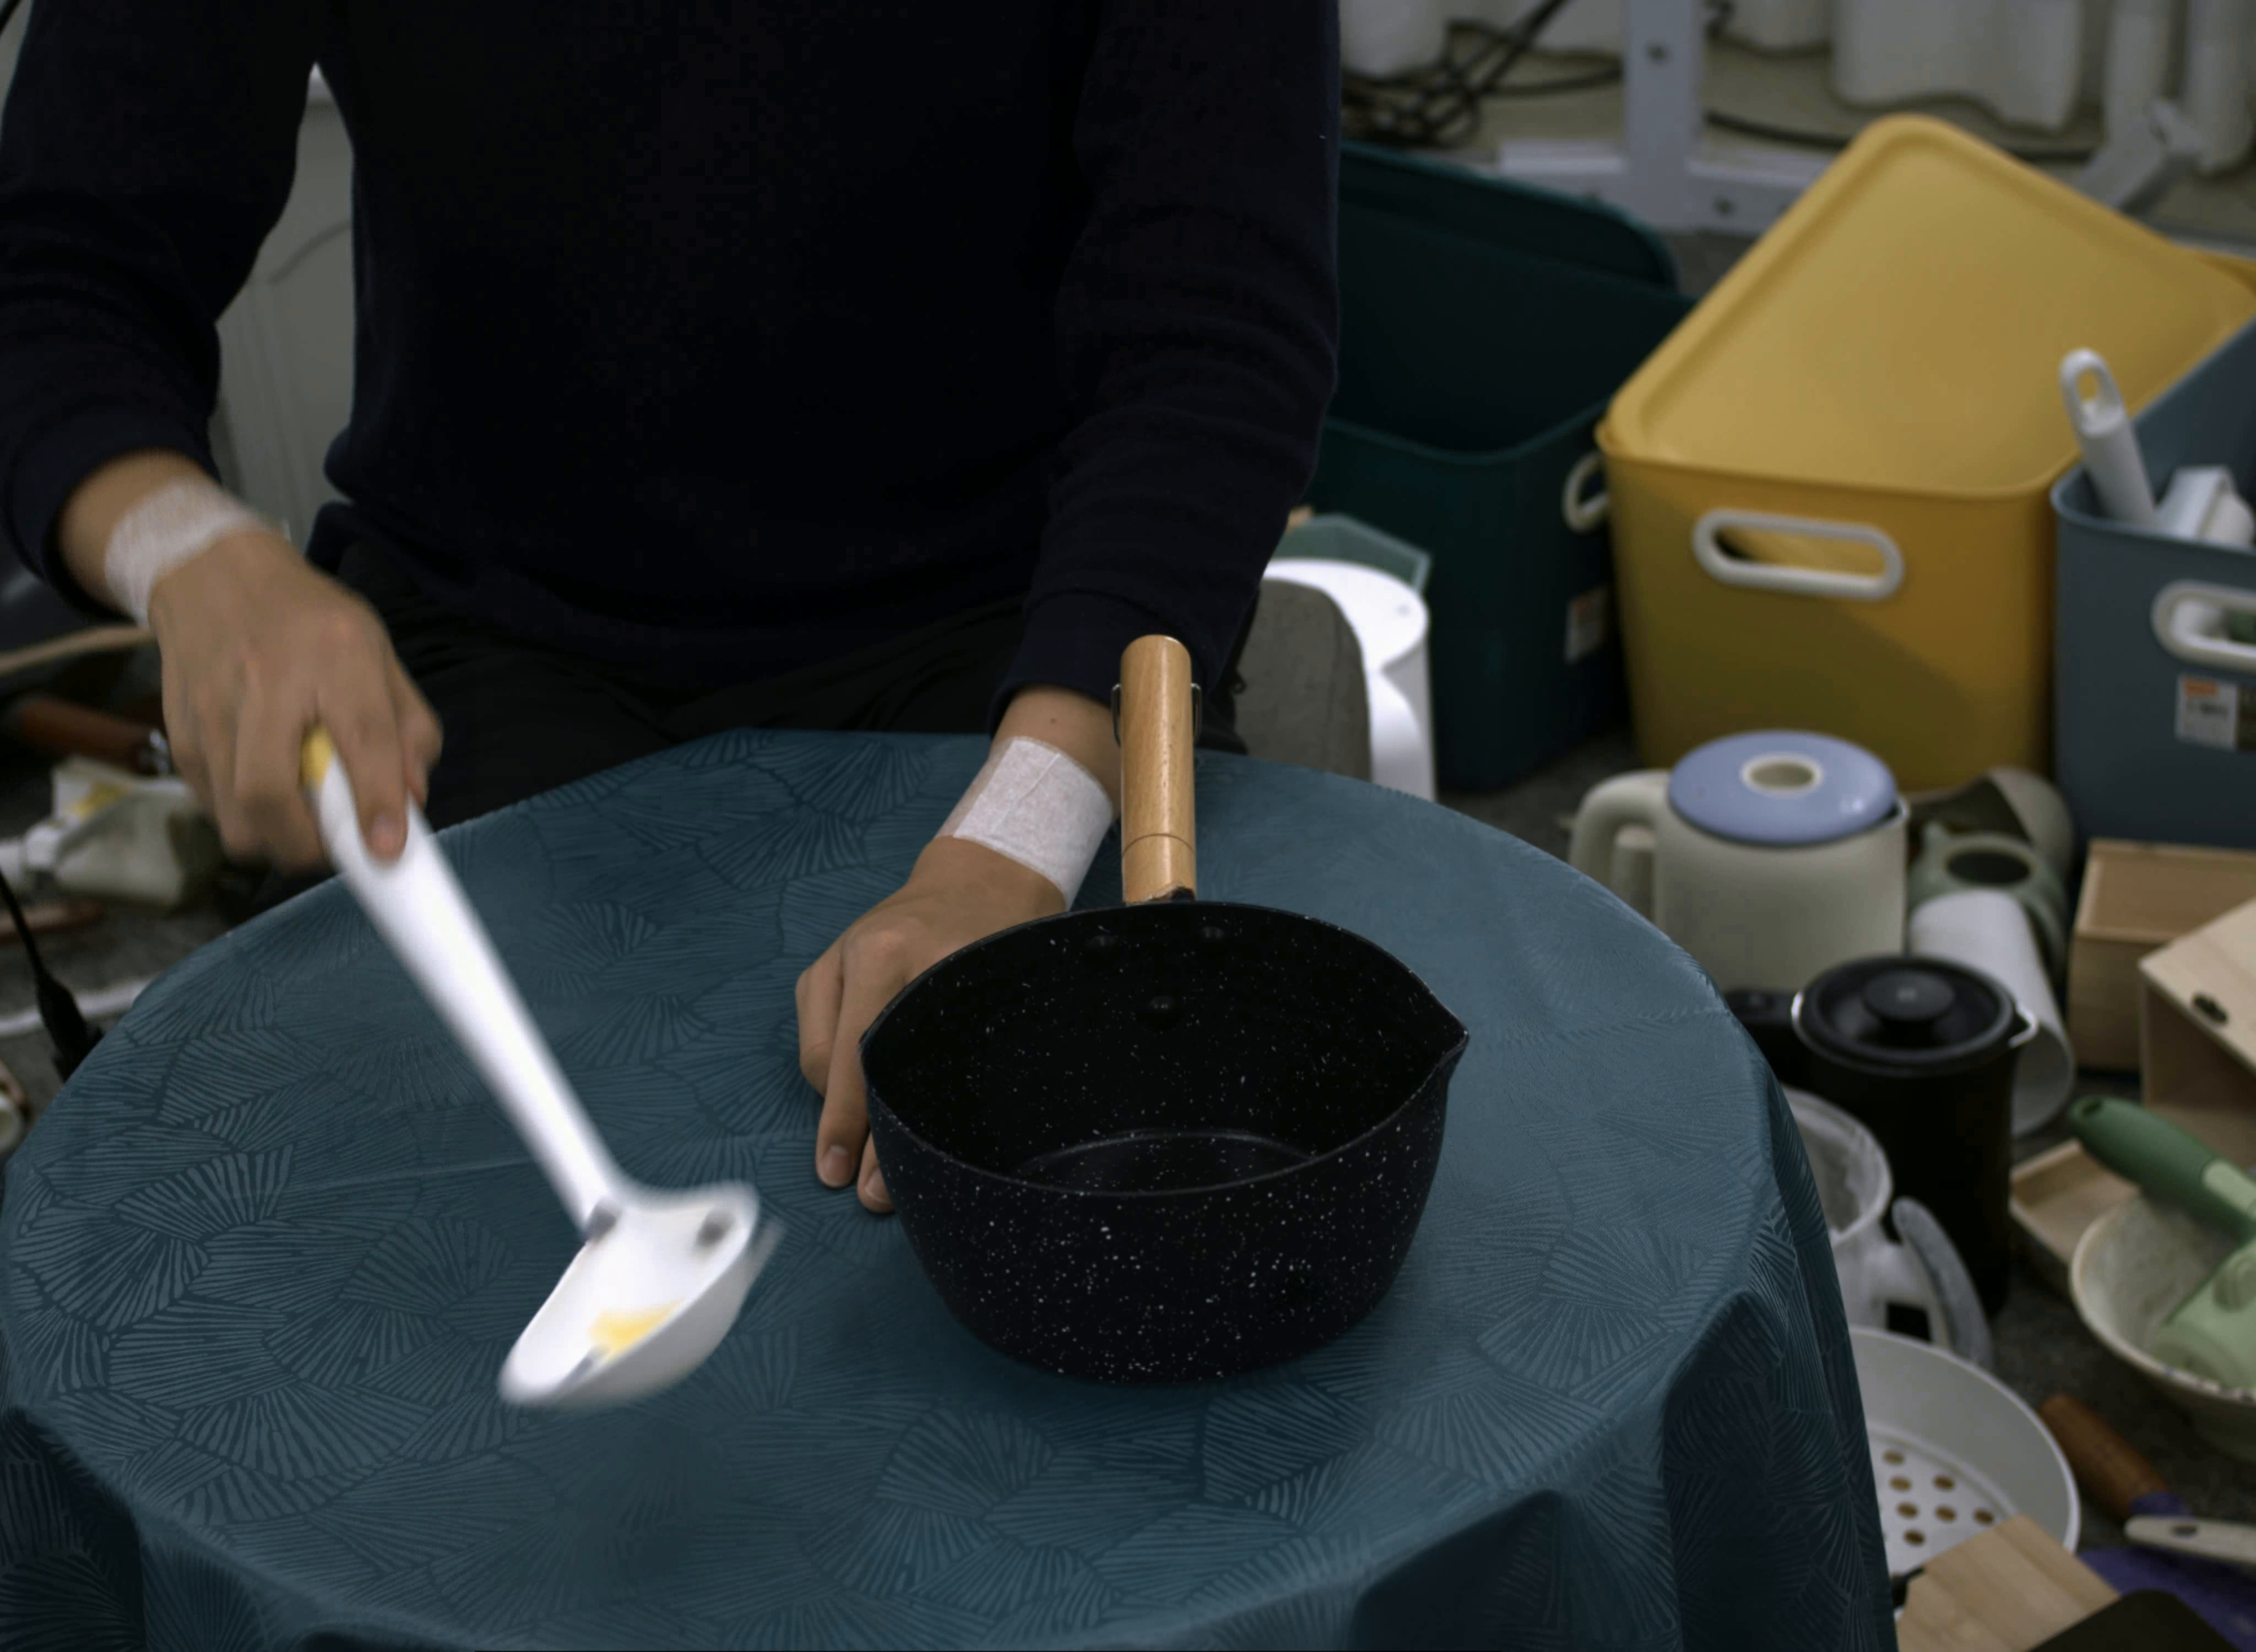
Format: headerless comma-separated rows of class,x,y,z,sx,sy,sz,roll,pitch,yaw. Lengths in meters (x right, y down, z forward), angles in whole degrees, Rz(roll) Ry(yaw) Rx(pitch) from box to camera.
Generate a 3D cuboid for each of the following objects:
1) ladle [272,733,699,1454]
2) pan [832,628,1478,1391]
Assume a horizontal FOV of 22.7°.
ladle,-0.211,0.076,1.748,0.089,0.069,0.296,-38,55,9
pan,0.009,0.057,1.870,0.206,0.107,0.348,-4,29,1
